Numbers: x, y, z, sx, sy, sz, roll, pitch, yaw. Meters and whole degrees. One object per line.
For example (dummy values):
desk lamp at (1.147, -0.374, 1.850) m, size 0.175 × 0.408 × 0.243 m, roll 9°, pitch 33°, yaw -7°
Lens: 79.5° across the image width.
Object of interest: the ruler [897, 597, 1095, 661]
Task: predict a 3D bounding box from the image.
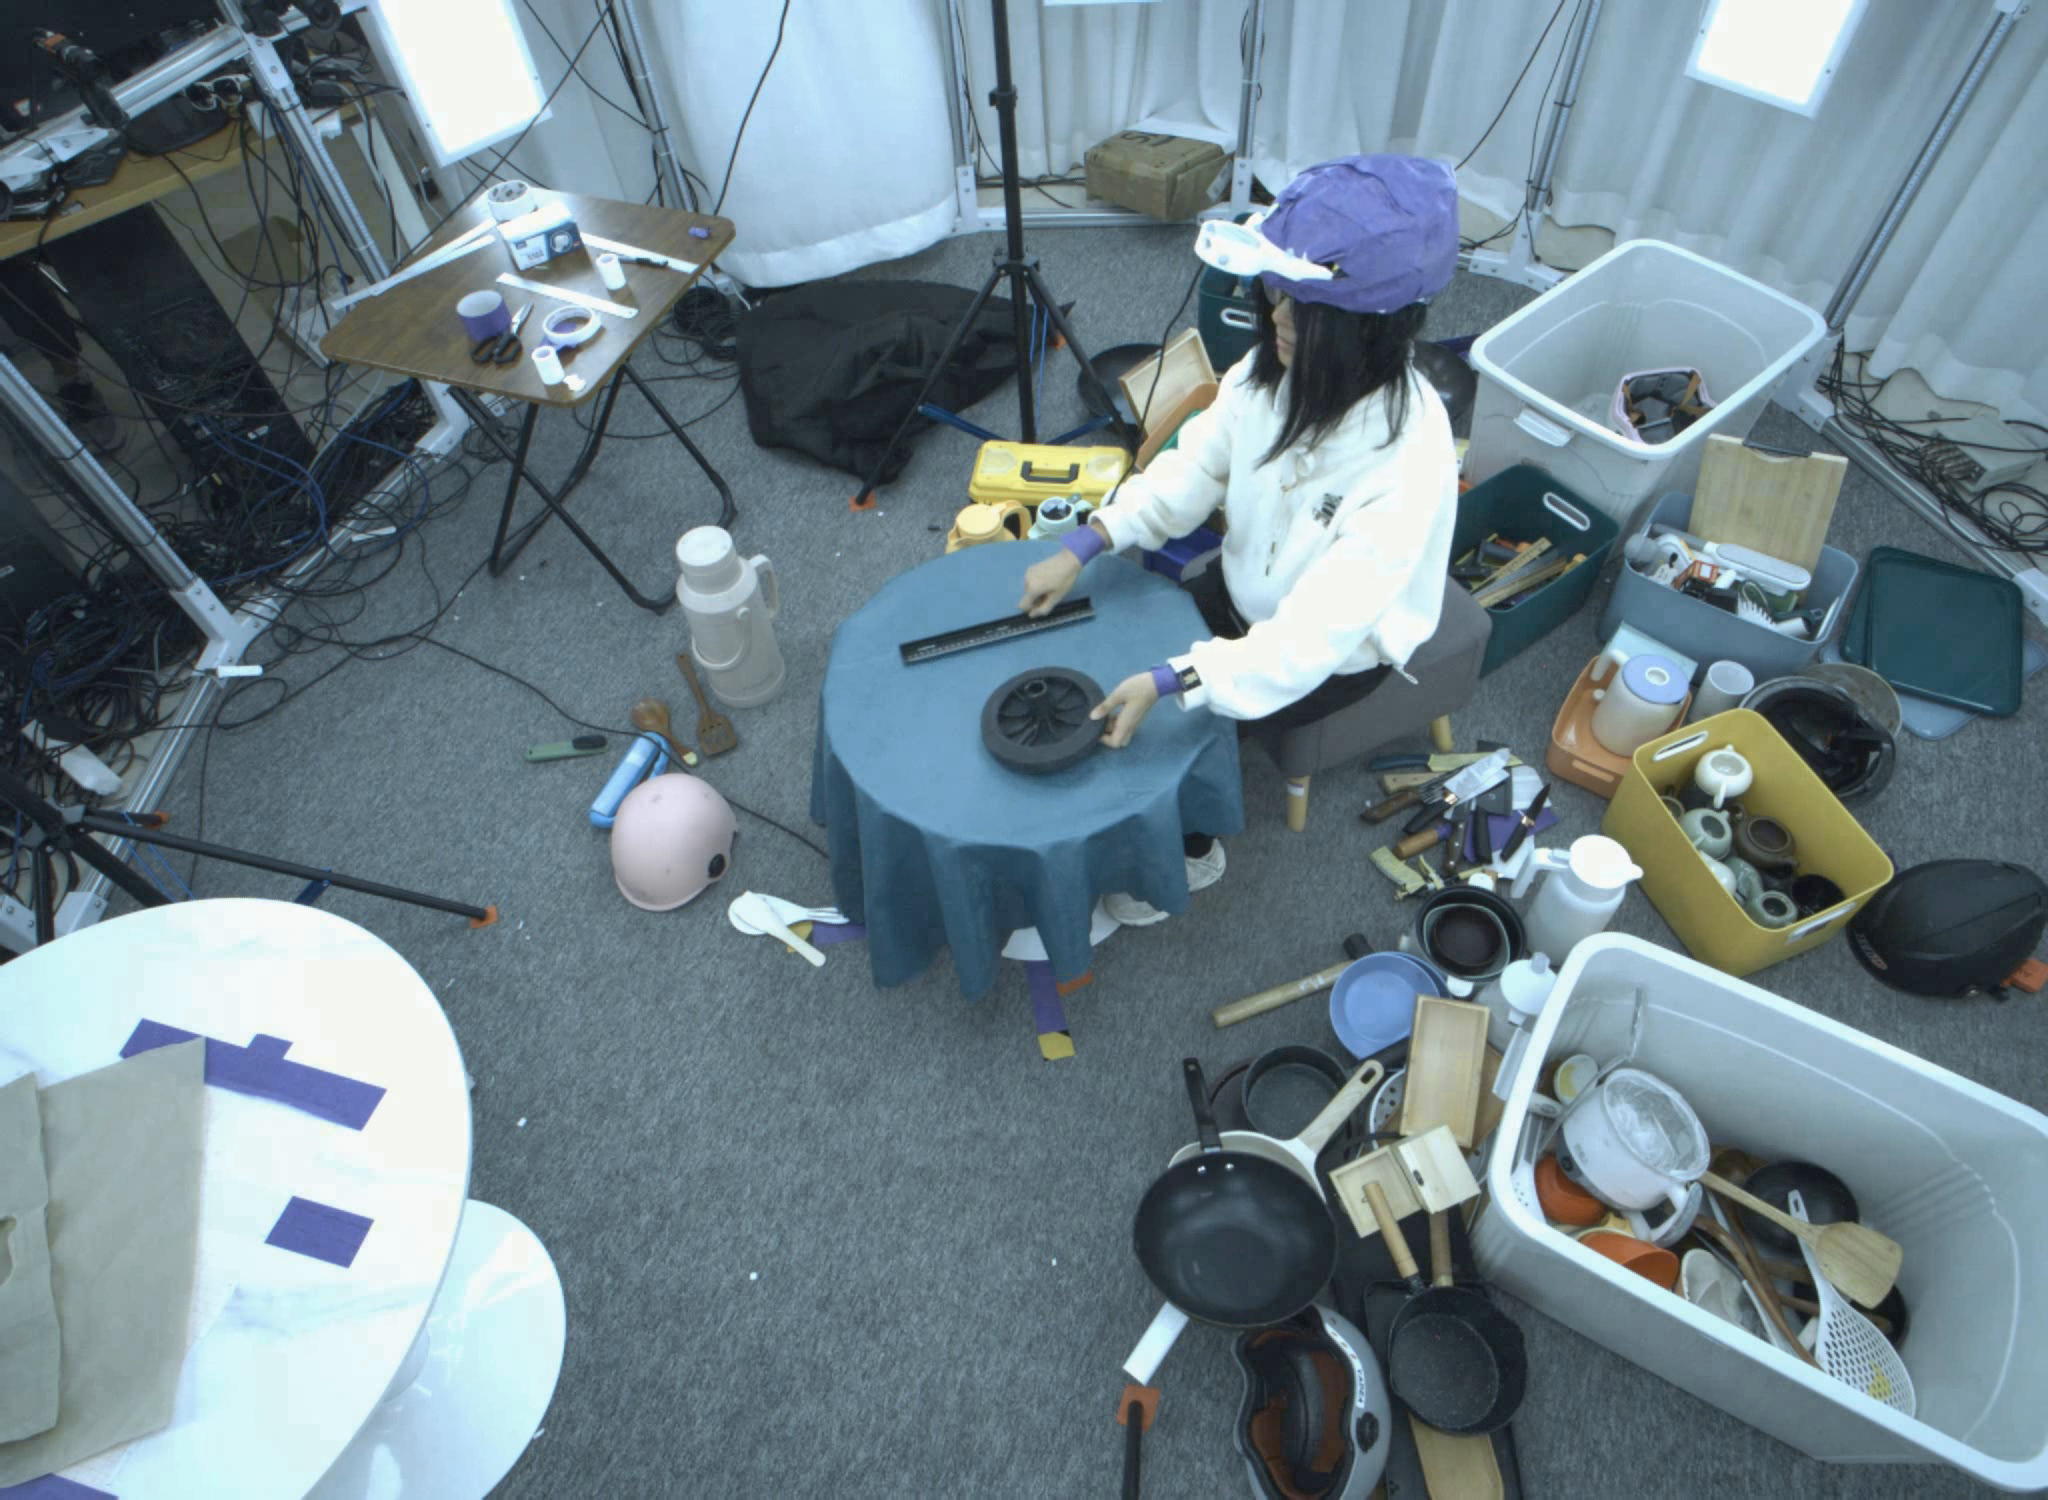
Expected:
ruler at (-0.044, -0.190, 1.909) m, size 0.314 × 0.017 × 0.038 m, roll -14°, pitch 49°, yaw -8°

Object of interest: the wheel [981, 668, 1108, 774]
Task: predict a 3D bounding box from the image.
wheel at (0.025, -0.059, 1.773) m, size 0.185 × 0.080 × 0.189 m, roll 7°, pitch 54°, yaw 17°
